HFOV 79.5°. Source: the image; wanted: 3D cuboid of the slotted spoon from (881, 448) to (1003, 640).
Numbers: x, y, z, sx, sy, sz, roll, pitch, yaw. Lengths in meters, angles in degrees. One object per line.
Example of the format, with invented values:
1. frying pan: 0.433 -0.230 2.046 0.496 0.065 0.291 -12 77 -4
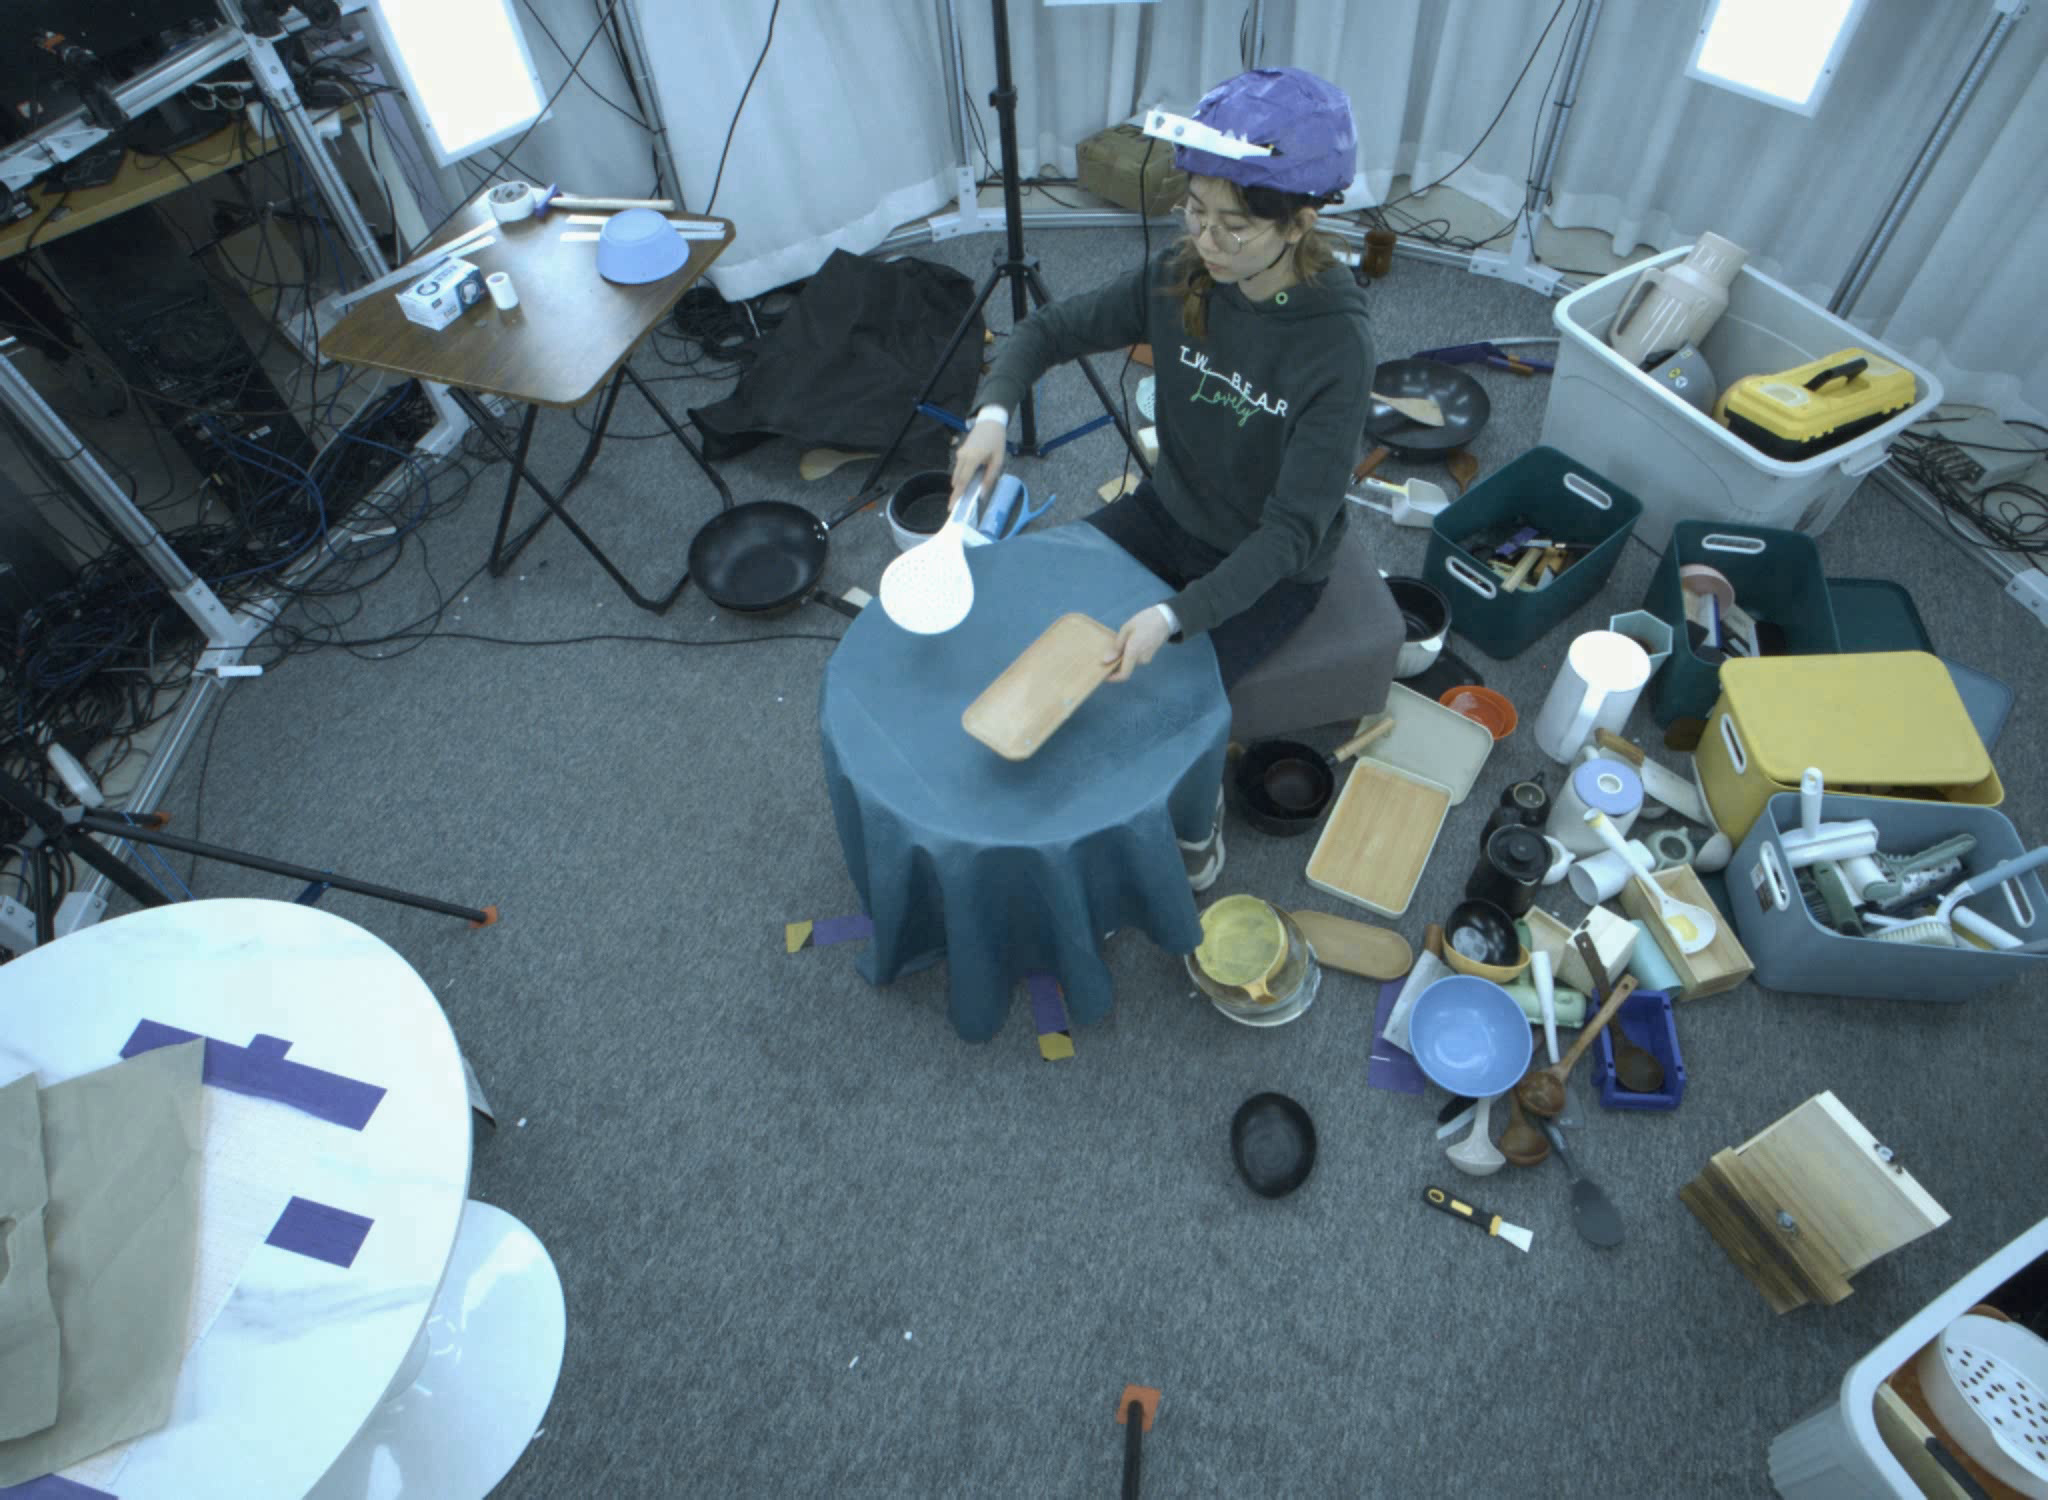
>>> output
1. slotted spoon: -0.107 -0.316 1.839 0.136 0.045 0.349 22 74 -2

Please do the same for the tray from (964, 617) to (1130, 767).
1. tray: 0.034 -0.084 1.741 0.128 0.023 0.252 36 70 26
